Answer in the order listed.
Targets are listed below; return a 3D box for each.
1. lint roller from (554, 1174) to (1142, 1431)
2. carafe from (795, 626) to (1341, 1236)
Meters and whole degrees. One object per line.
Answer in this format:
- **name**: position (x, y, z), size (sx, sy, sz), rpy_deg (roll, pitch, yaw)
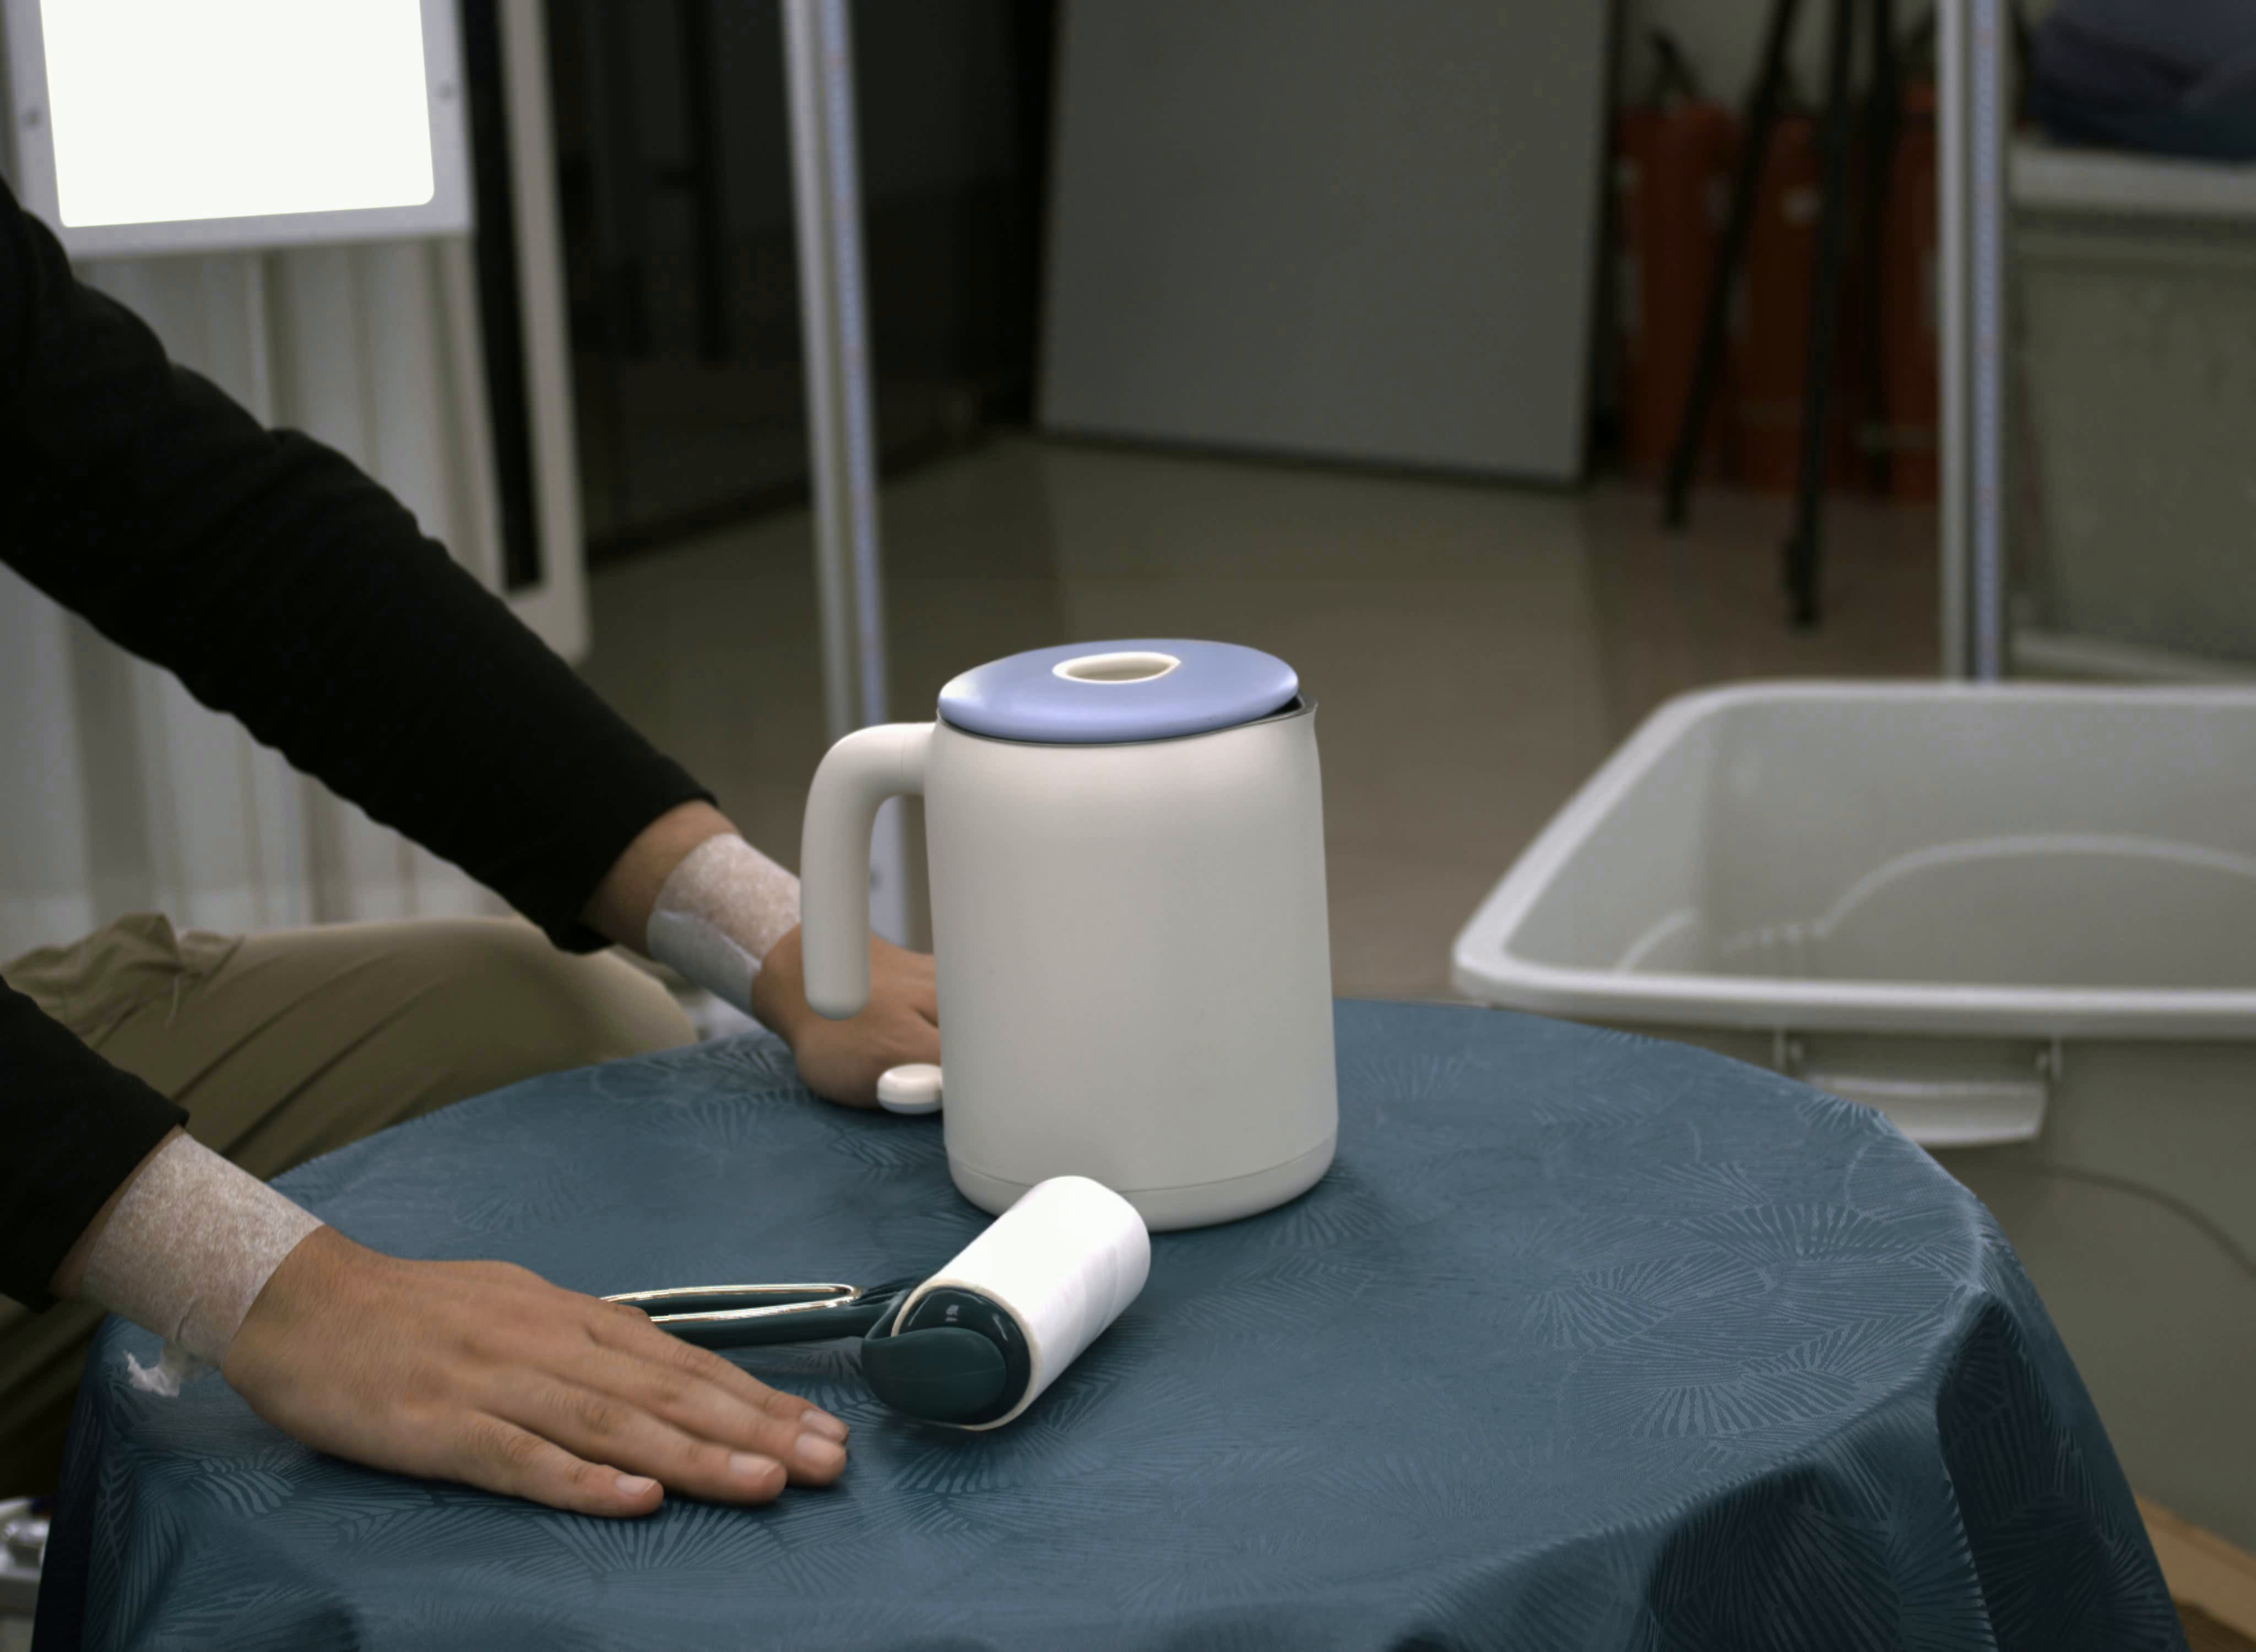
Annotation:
- **lint roller**: position (-0.094, 0.143, 1.624), size (0.180, 0.049, 0.133), rpy_deg (-2, 14, 22)
- **carafe**: position (-0.022, 0.034, 1.770), size (0.191, 0.184, 0.131), rpy_deg (-1, 13, 22)
